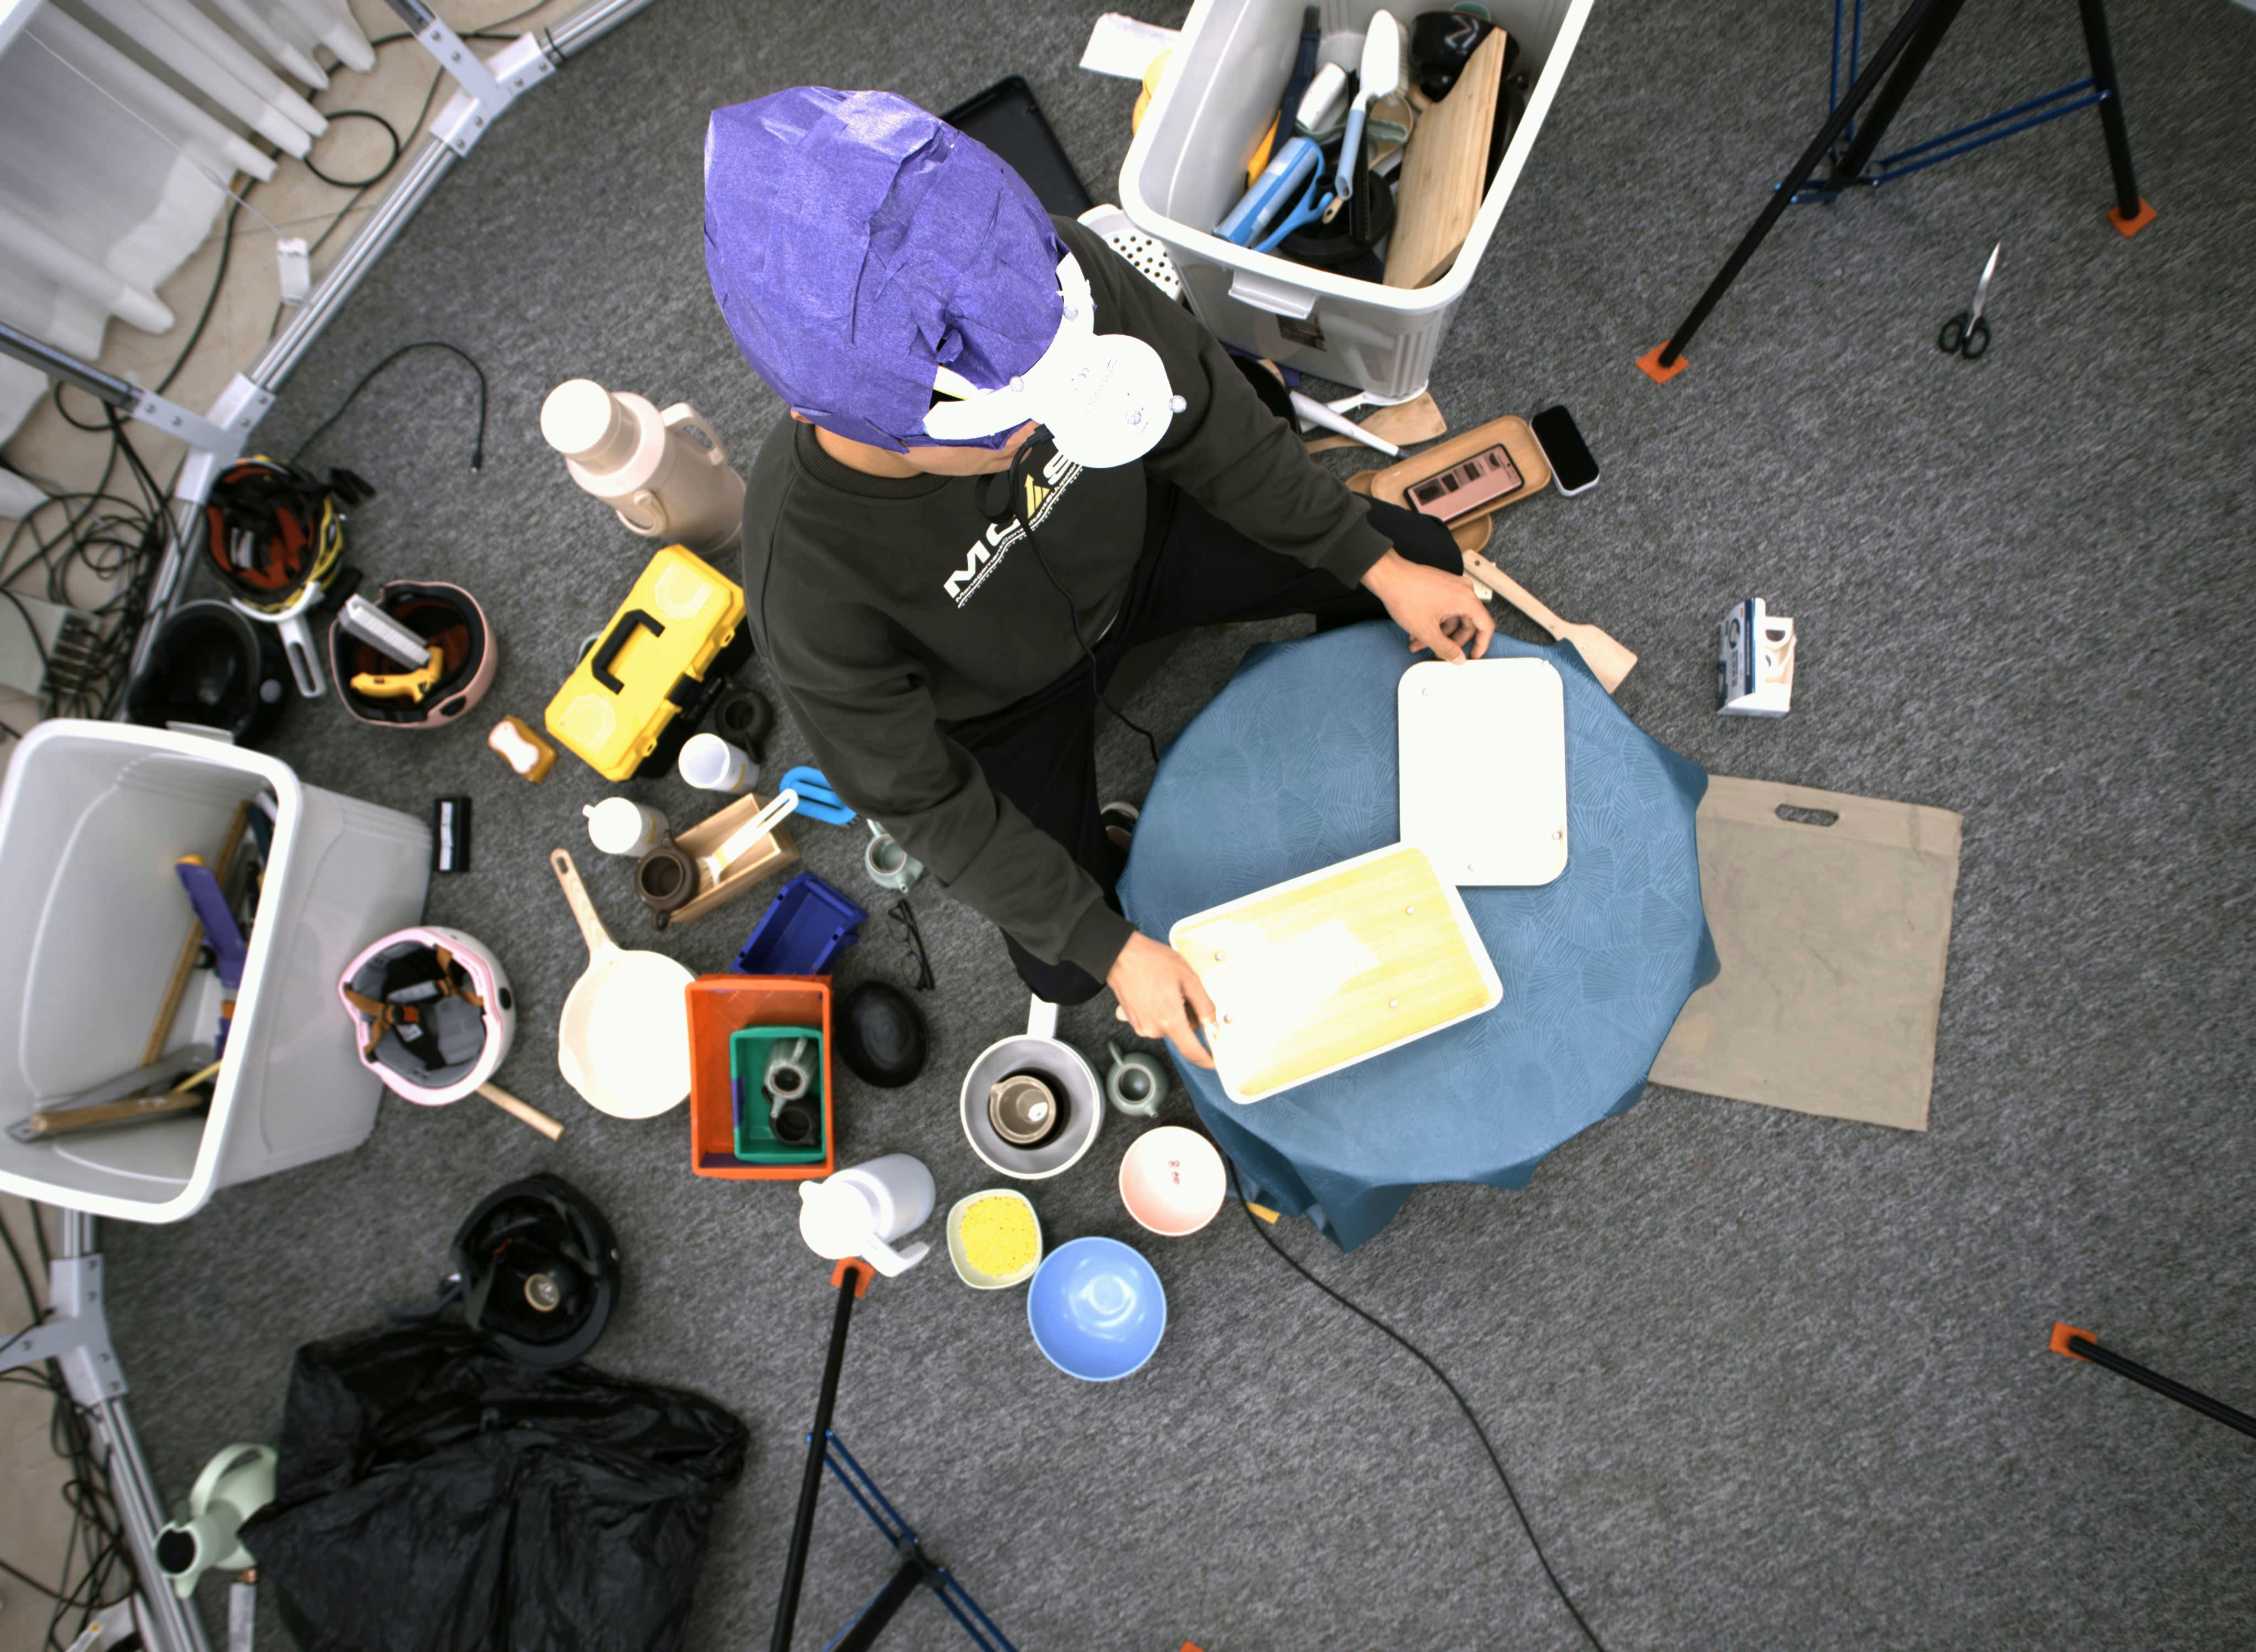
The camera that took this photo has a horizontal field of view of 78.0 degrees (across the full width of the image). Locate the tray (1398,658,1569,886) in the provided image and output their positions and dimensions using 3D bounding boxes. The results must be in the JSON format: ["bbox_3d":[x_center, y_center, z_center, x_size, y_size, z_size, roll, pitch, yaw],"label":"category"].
[{"bbox_3d":[0.371,-0.059,1.440,0.172,0.017,0.238,-1,86,11],"label":"tray"}]

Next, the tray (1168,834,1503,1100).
[{"bbox_3d":[0.208,0.135,1.380,0.298,0.028,0.189,-19,75,-12],"label":"tray"}]
